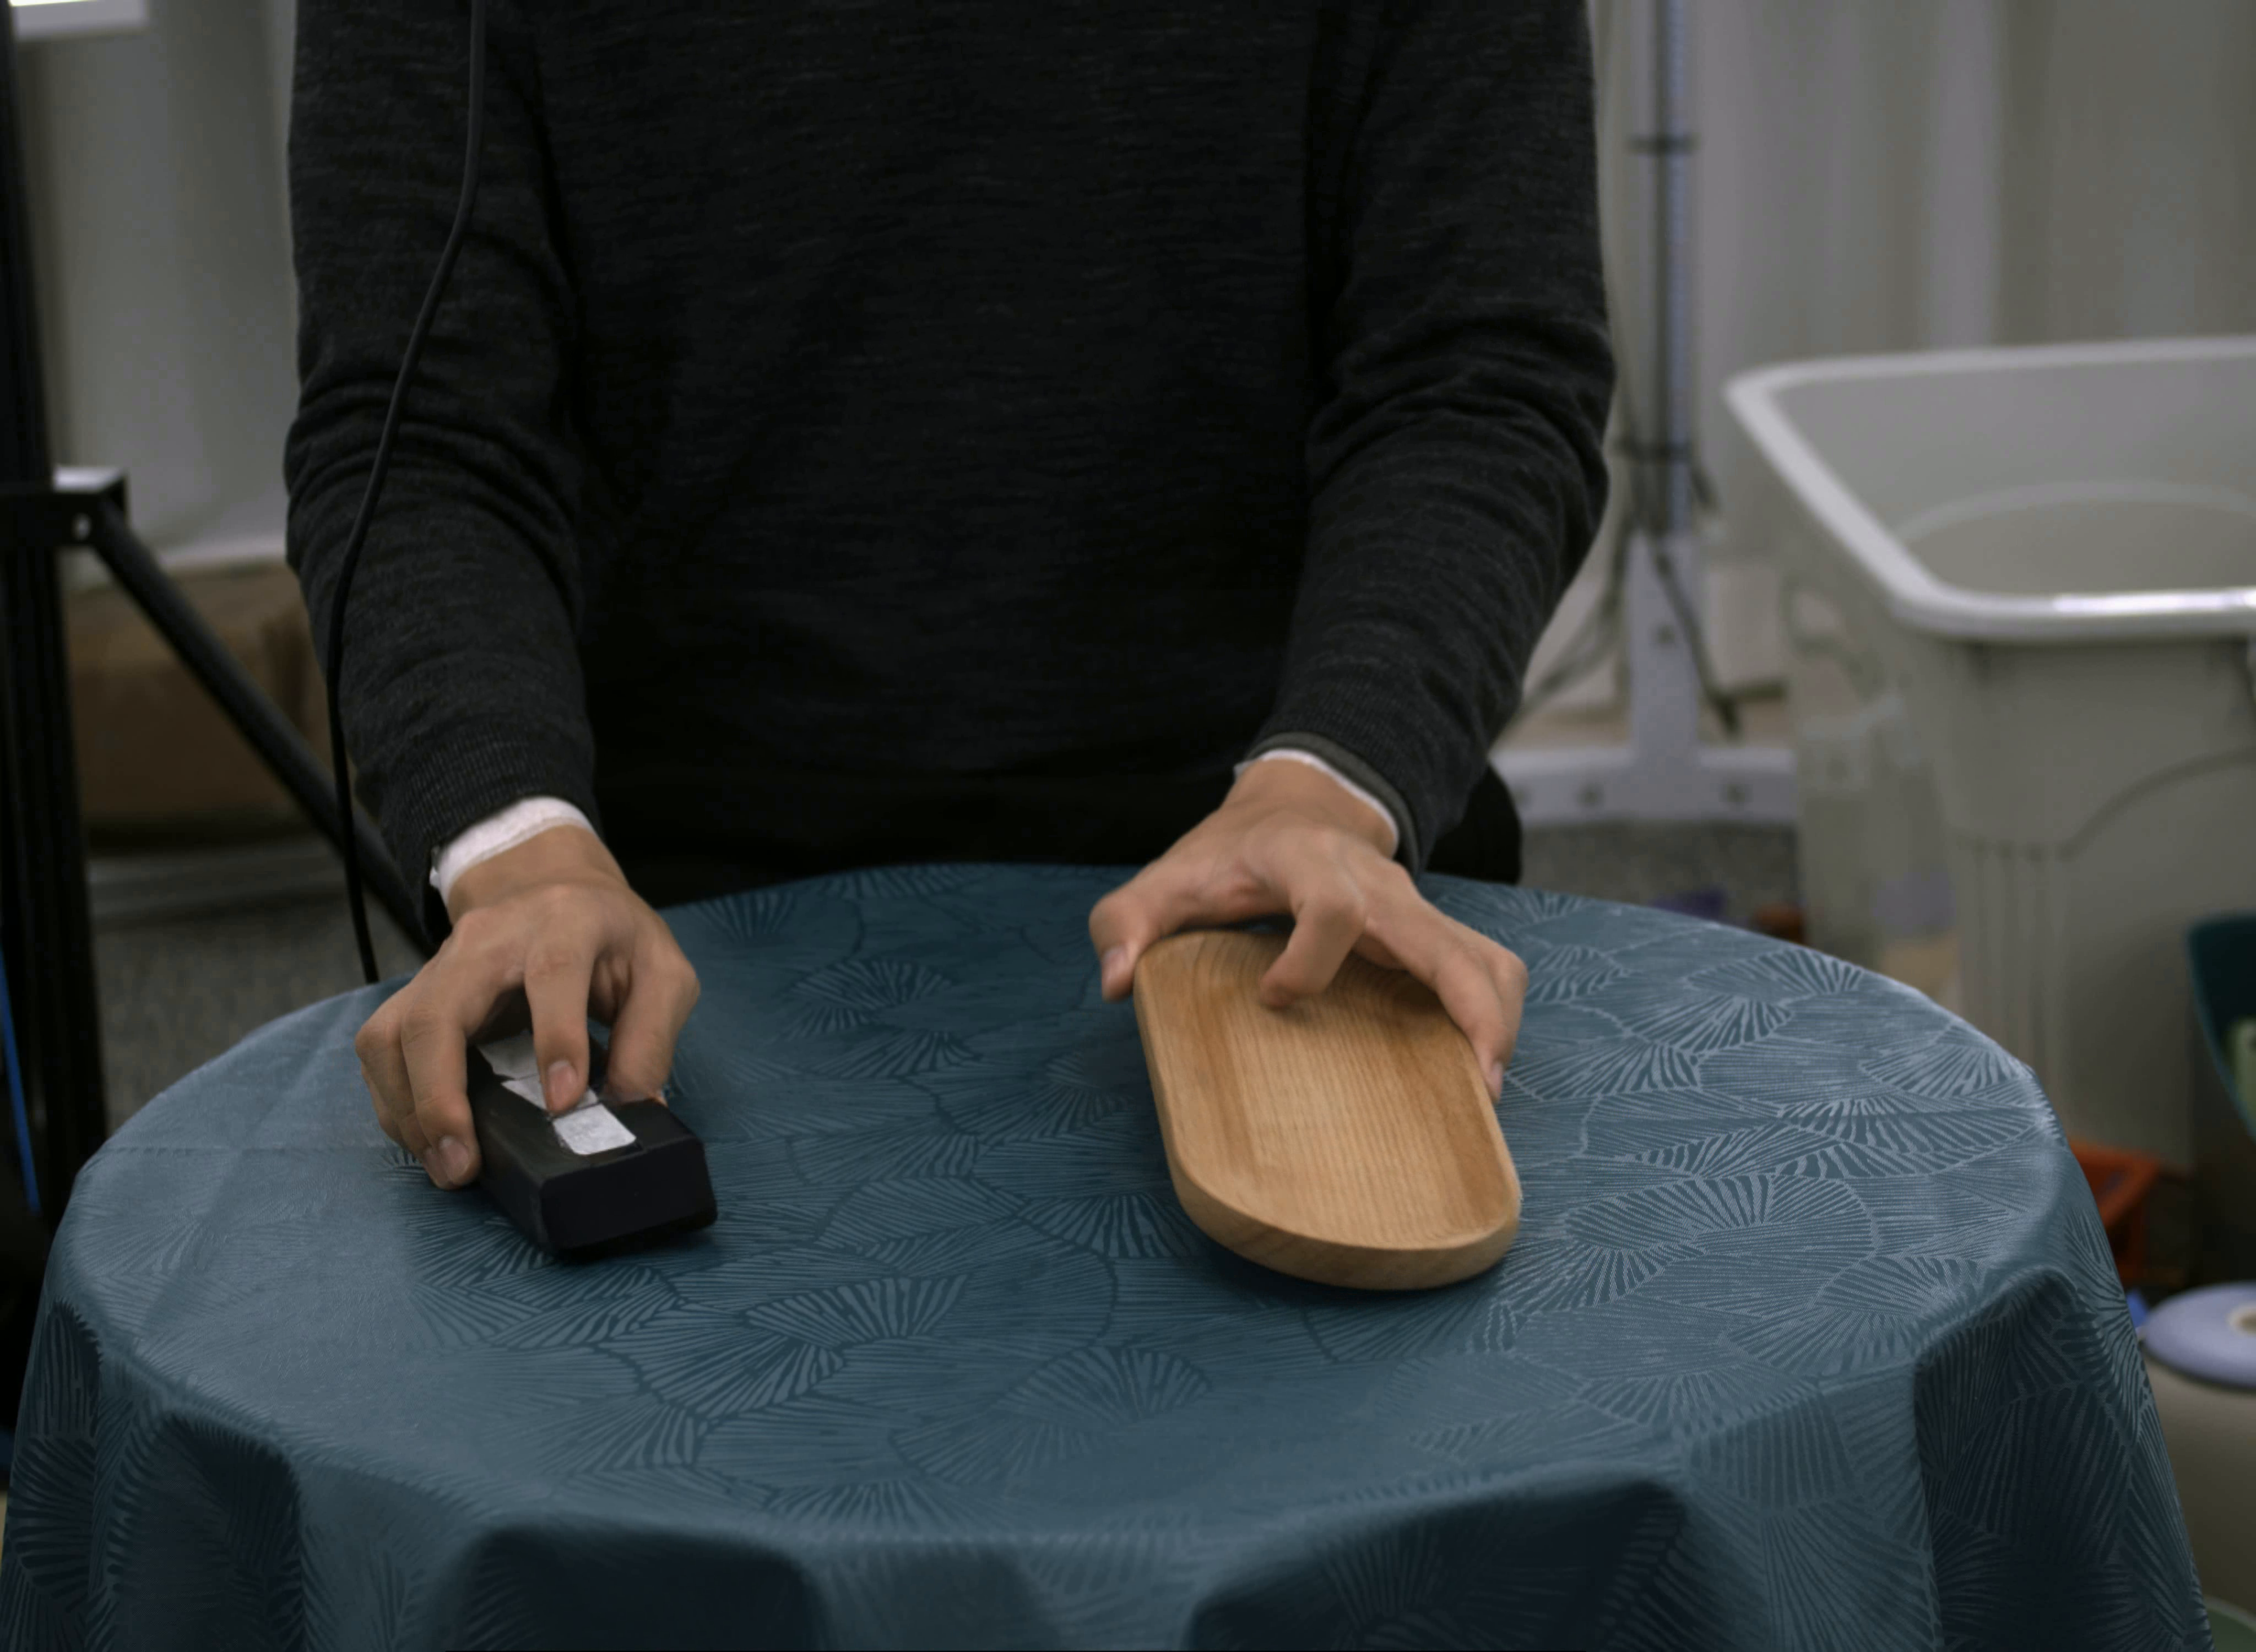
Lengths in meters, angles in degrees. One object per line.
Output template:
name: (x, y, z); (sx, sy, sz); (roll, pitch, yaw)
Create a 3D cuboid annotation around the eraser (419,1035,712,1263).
eraser: (-0.166, 0.094, 1.575); (0.052, 0.030, 0.128); (-11, 17, -21)

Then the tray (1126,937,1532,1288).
tray: (0.056, 0.082, 1.562); (0.100, 0.020, 0.233); (6, 18, -8)
